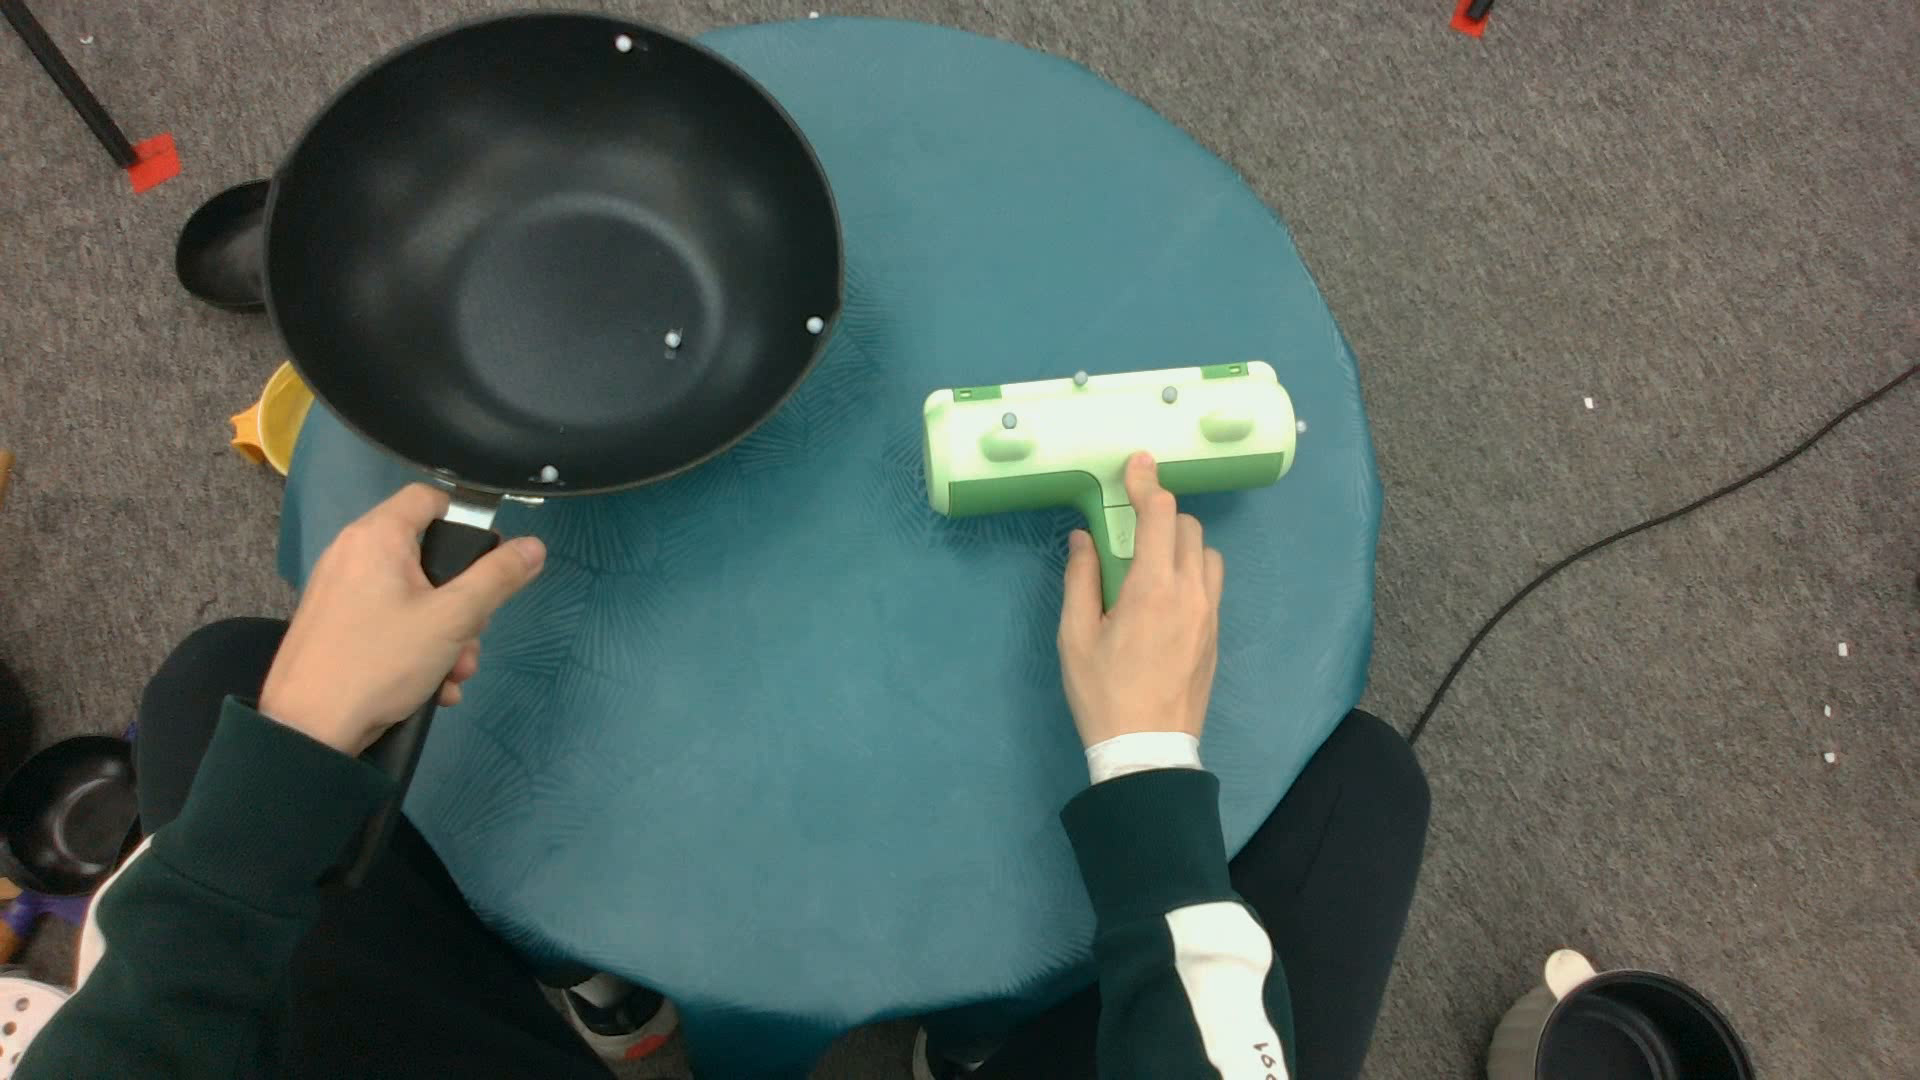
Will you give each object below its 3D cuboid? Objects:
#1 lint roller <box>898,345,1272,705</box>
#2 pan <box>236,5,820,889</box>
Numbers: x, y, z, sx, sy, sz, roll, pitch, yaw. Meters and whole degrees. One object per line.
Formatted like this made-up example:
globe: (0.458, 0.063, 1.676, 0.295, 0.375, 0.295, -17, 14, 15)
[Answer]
lint roller: (0.075, -0.011, 0.711, 0.199, 0.082, 0.184, -7, 68, -7)
pan: (-0.232, -0.056, 0.695, 0.288, 0.086, 0.465, 11, 70, -4)
